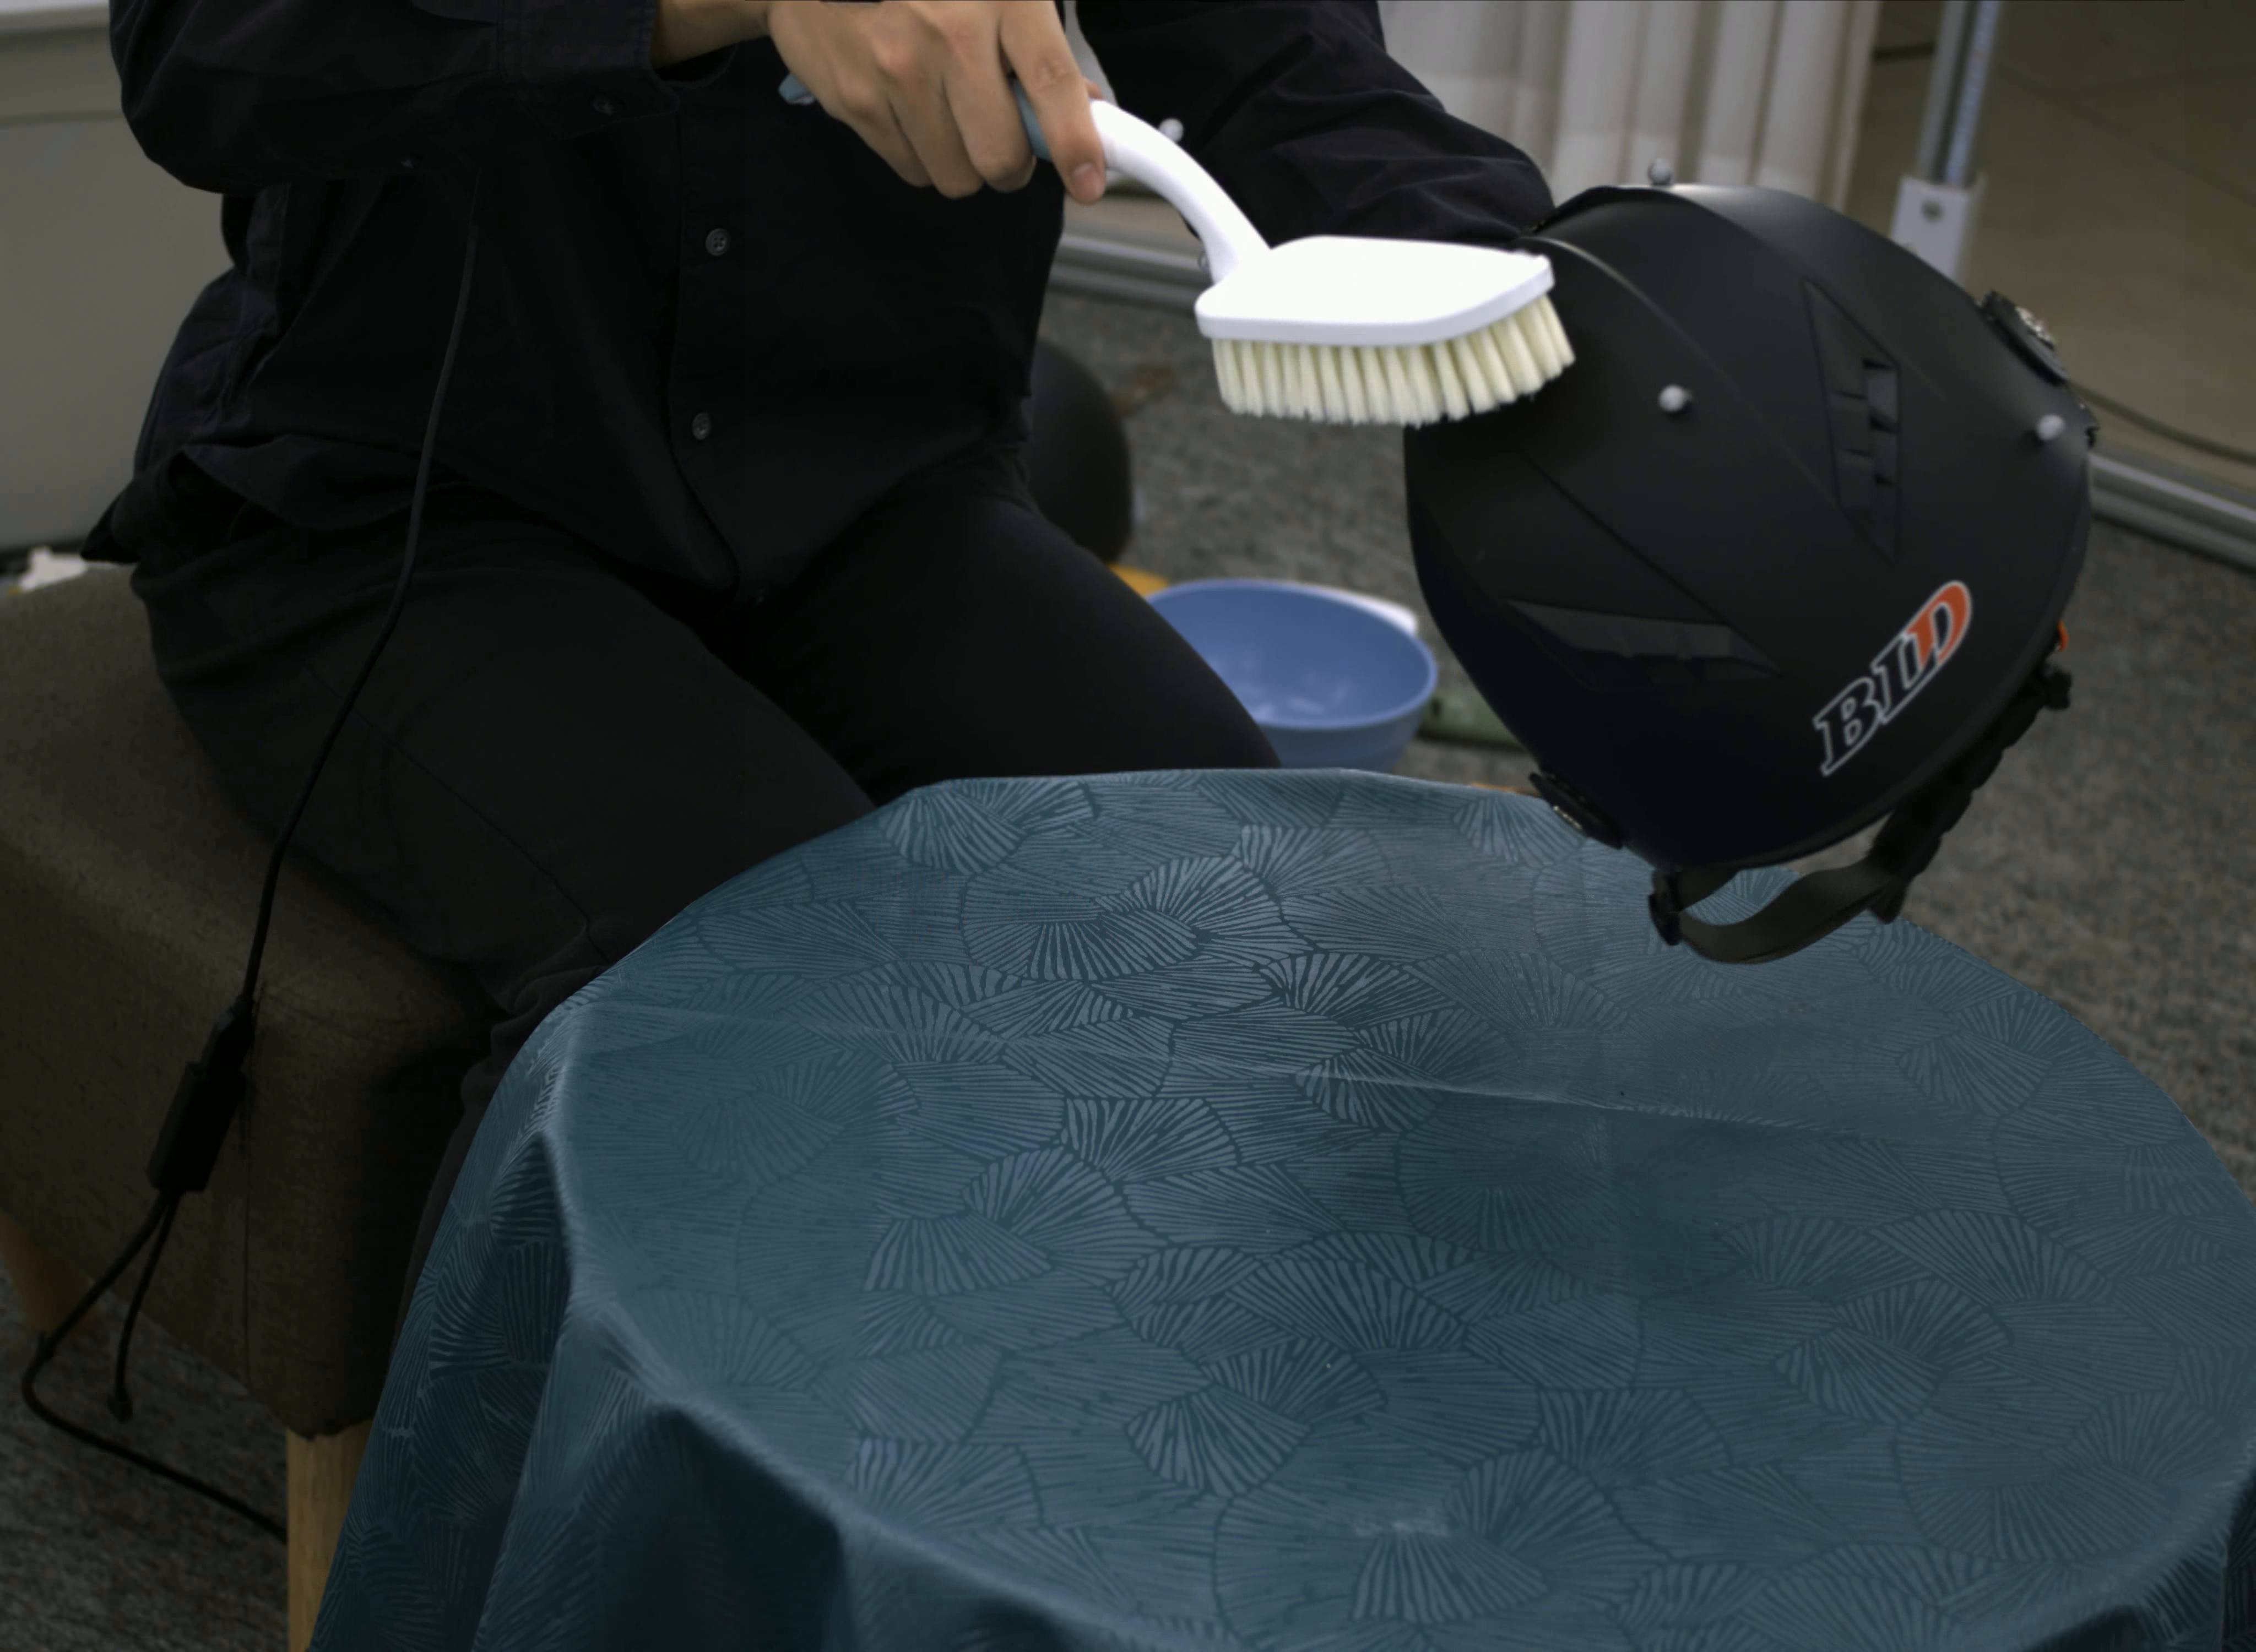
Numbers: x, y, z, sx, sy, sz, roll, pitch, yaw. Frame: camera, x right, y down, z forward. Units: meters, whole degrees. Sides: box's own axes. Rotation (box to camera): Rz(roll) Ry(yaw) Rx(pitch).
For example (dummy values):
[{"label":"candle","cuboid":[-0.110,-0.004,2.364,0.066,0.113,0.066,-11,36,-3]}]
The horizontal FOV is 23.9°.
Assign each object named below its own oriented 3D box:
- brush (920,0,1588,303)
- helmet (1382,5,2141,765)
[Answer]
[{"label":"brush","cuboid":[0.021,-0.234,1.830,0.327,0.084,0.082,21,2,34]},{"label":"helmet","cuboid":[0.201,-0.159,1.806,0.171,0.246,0.279,38,10,-29]}]
